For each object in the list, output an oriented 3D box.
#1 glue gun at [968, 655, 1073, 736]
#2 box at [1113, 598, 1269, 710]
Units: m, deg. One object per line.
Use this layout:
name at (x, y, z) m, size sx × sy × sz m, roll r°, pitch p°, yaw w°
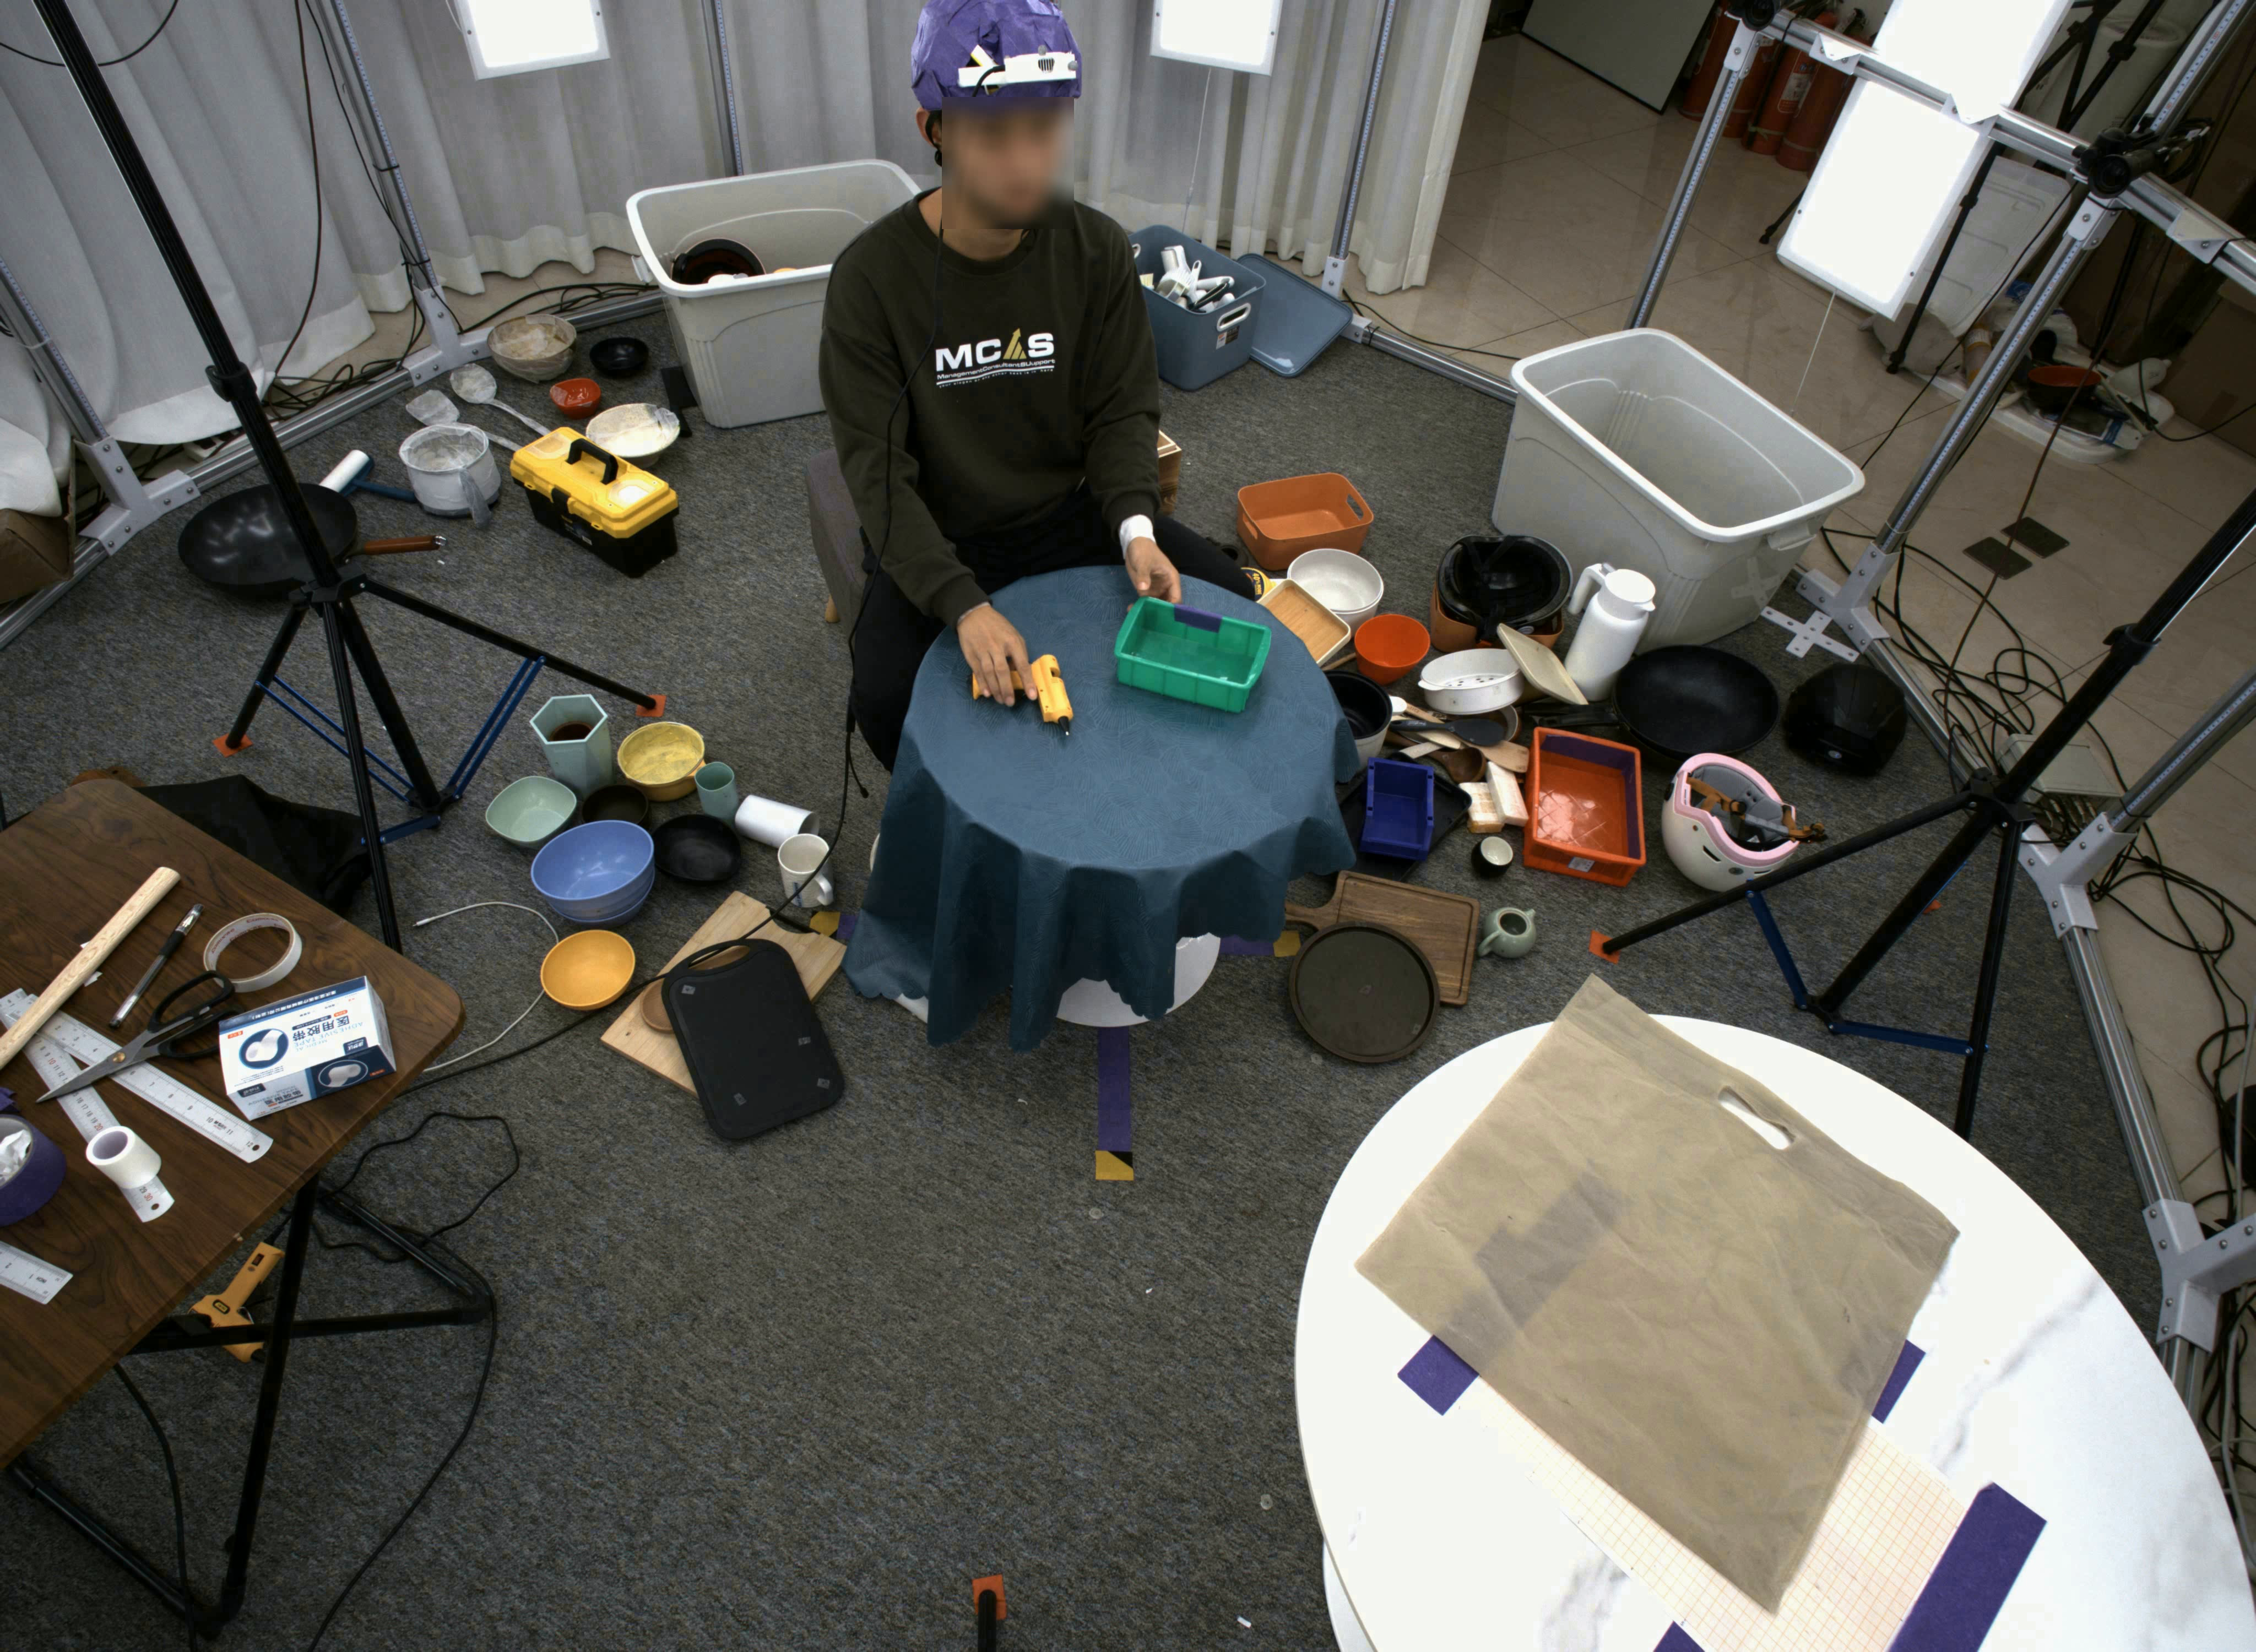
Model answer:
glue gun at (-0.142, -0.171, 1.782) m, size 0.133 × 0.030 × 0.155 m, roll -13°, pitch 51°, yaw -13°
box at (0.089, -0.244, 1.838) m, size 0.211 × 0.064 × 0.141 m, roll 13°, pitch 47°, yaw 10°
